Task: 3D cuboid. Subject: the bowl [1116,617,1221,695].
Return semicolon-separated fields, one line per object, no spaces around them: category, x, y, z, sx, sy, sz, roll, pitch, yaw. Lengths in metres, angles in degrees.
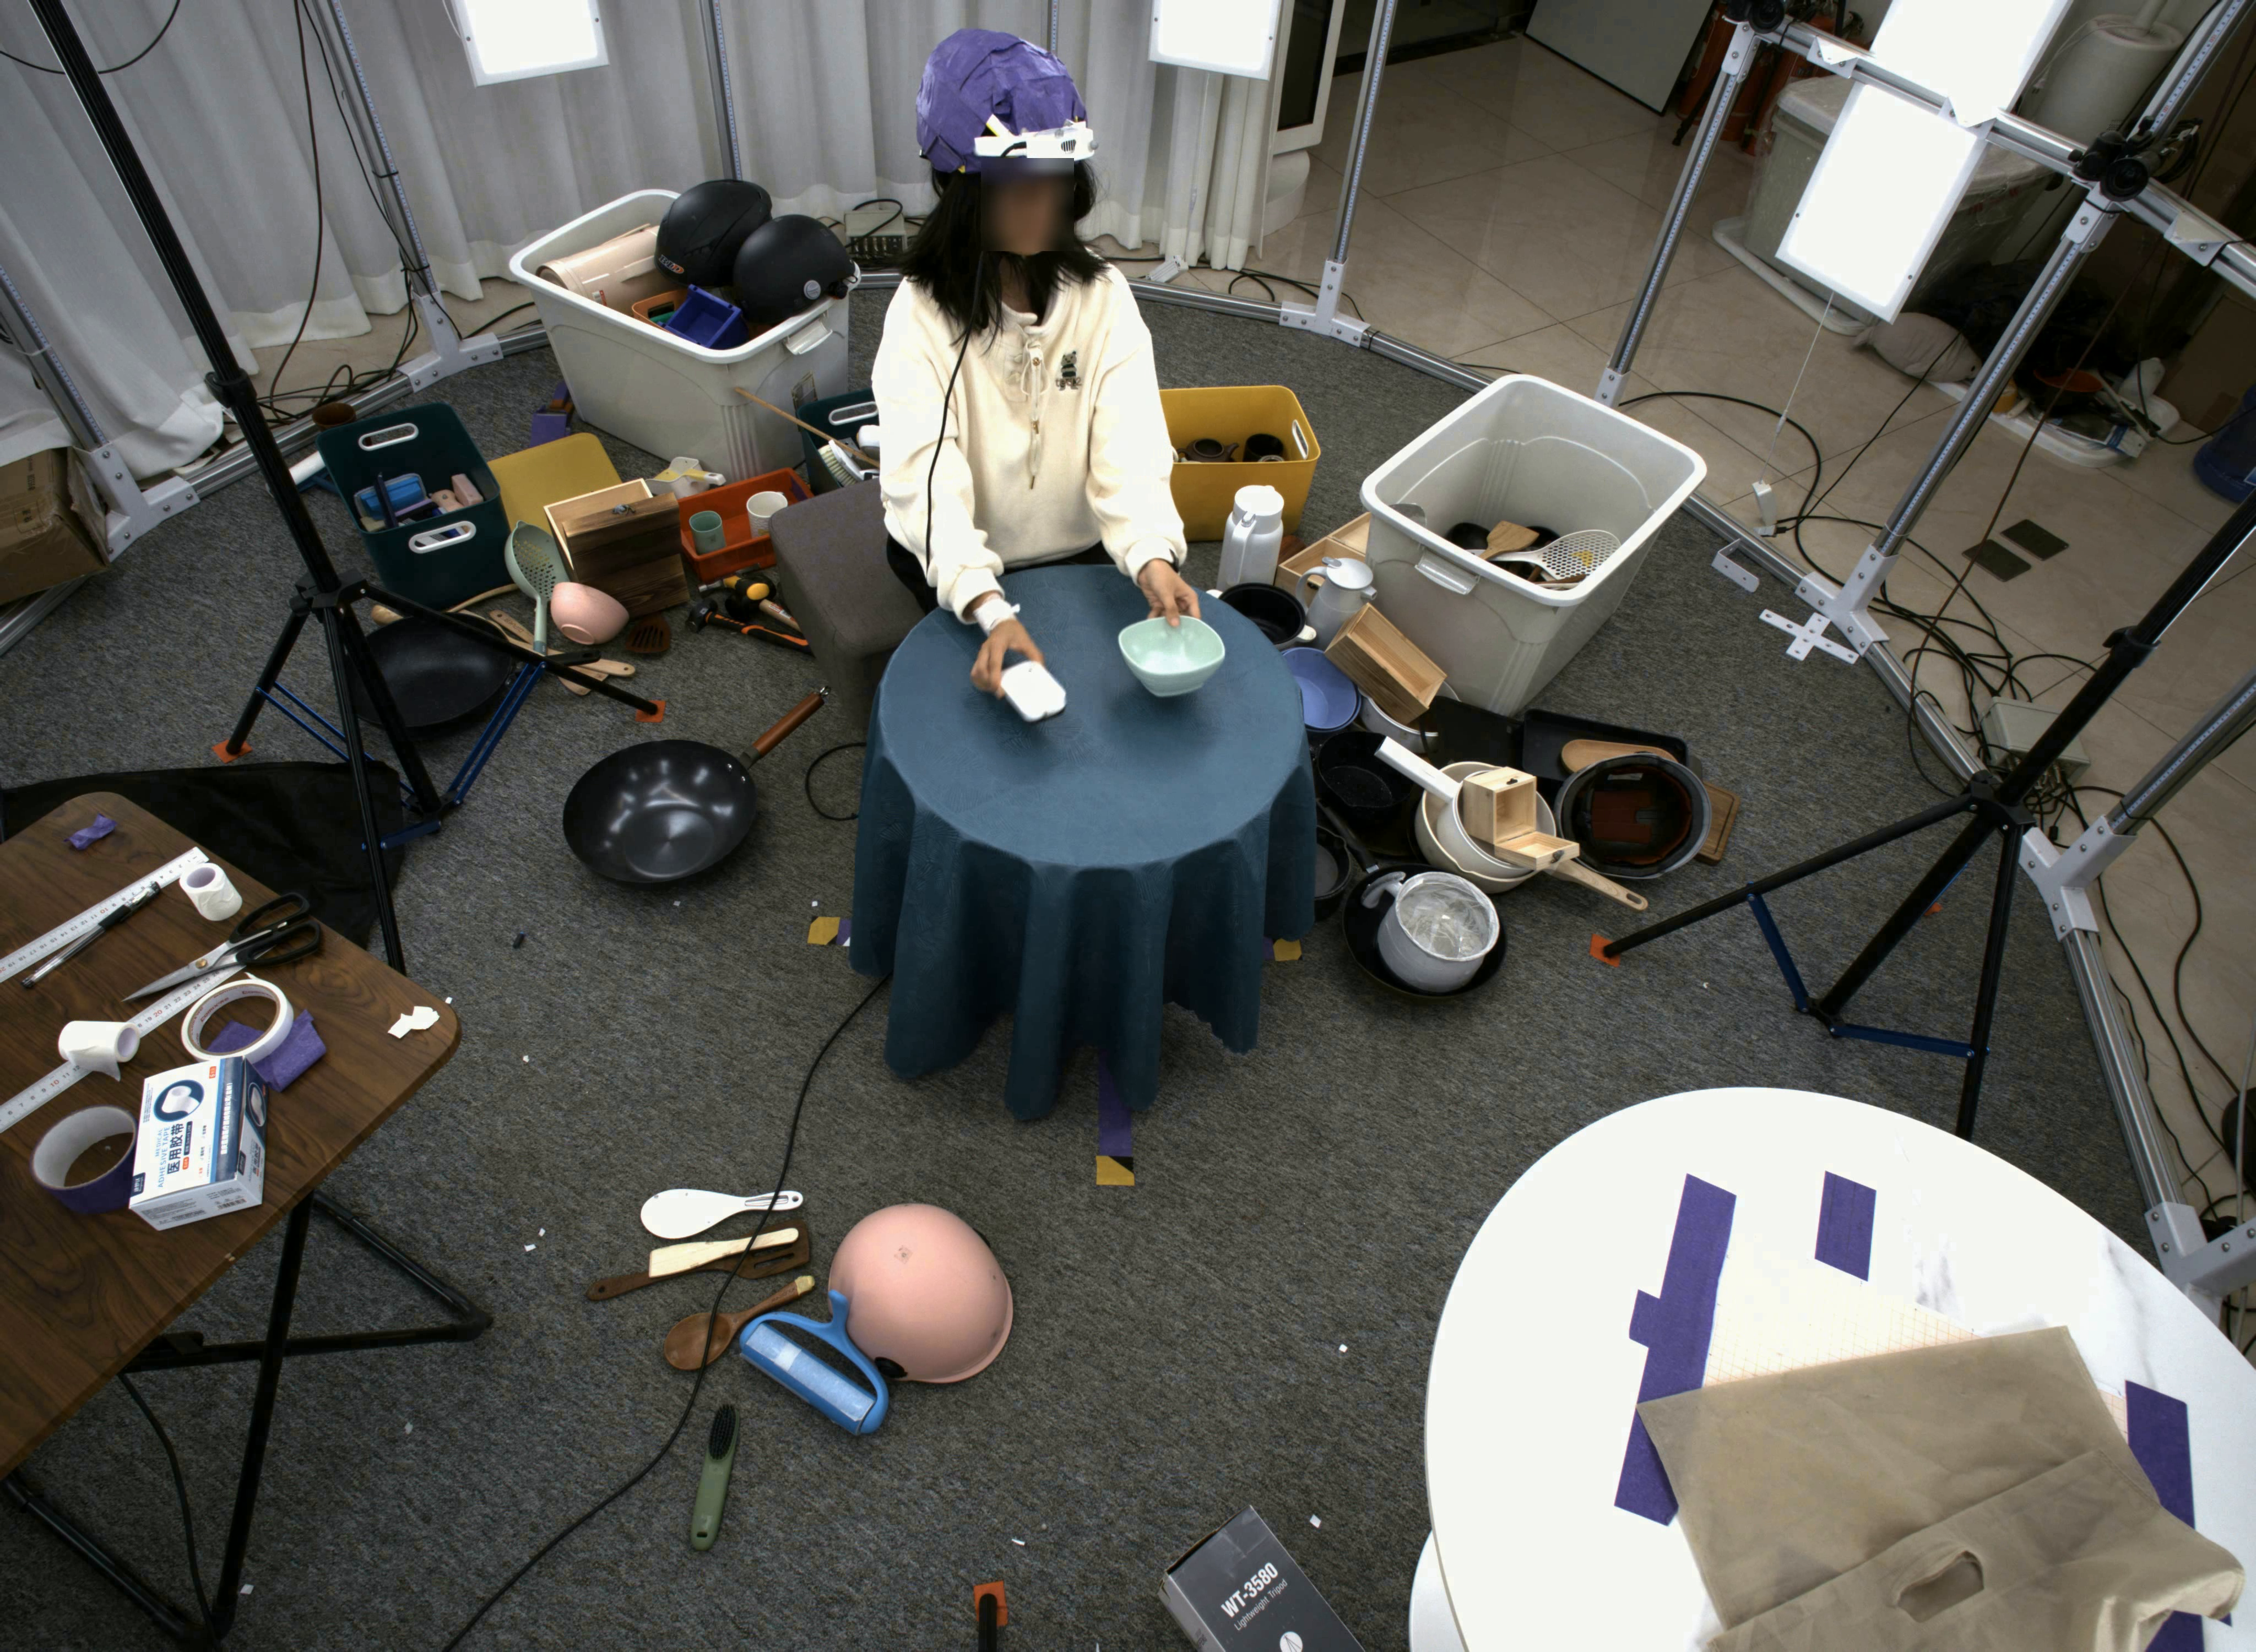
bowl;0.055;-0.232;1.789;0.151;0.057;0.155;1;38;-1

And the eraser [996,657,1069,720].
eraser;-0.128;-0.191;1.744;0.063;0.034;0.134;-23;38;-16
